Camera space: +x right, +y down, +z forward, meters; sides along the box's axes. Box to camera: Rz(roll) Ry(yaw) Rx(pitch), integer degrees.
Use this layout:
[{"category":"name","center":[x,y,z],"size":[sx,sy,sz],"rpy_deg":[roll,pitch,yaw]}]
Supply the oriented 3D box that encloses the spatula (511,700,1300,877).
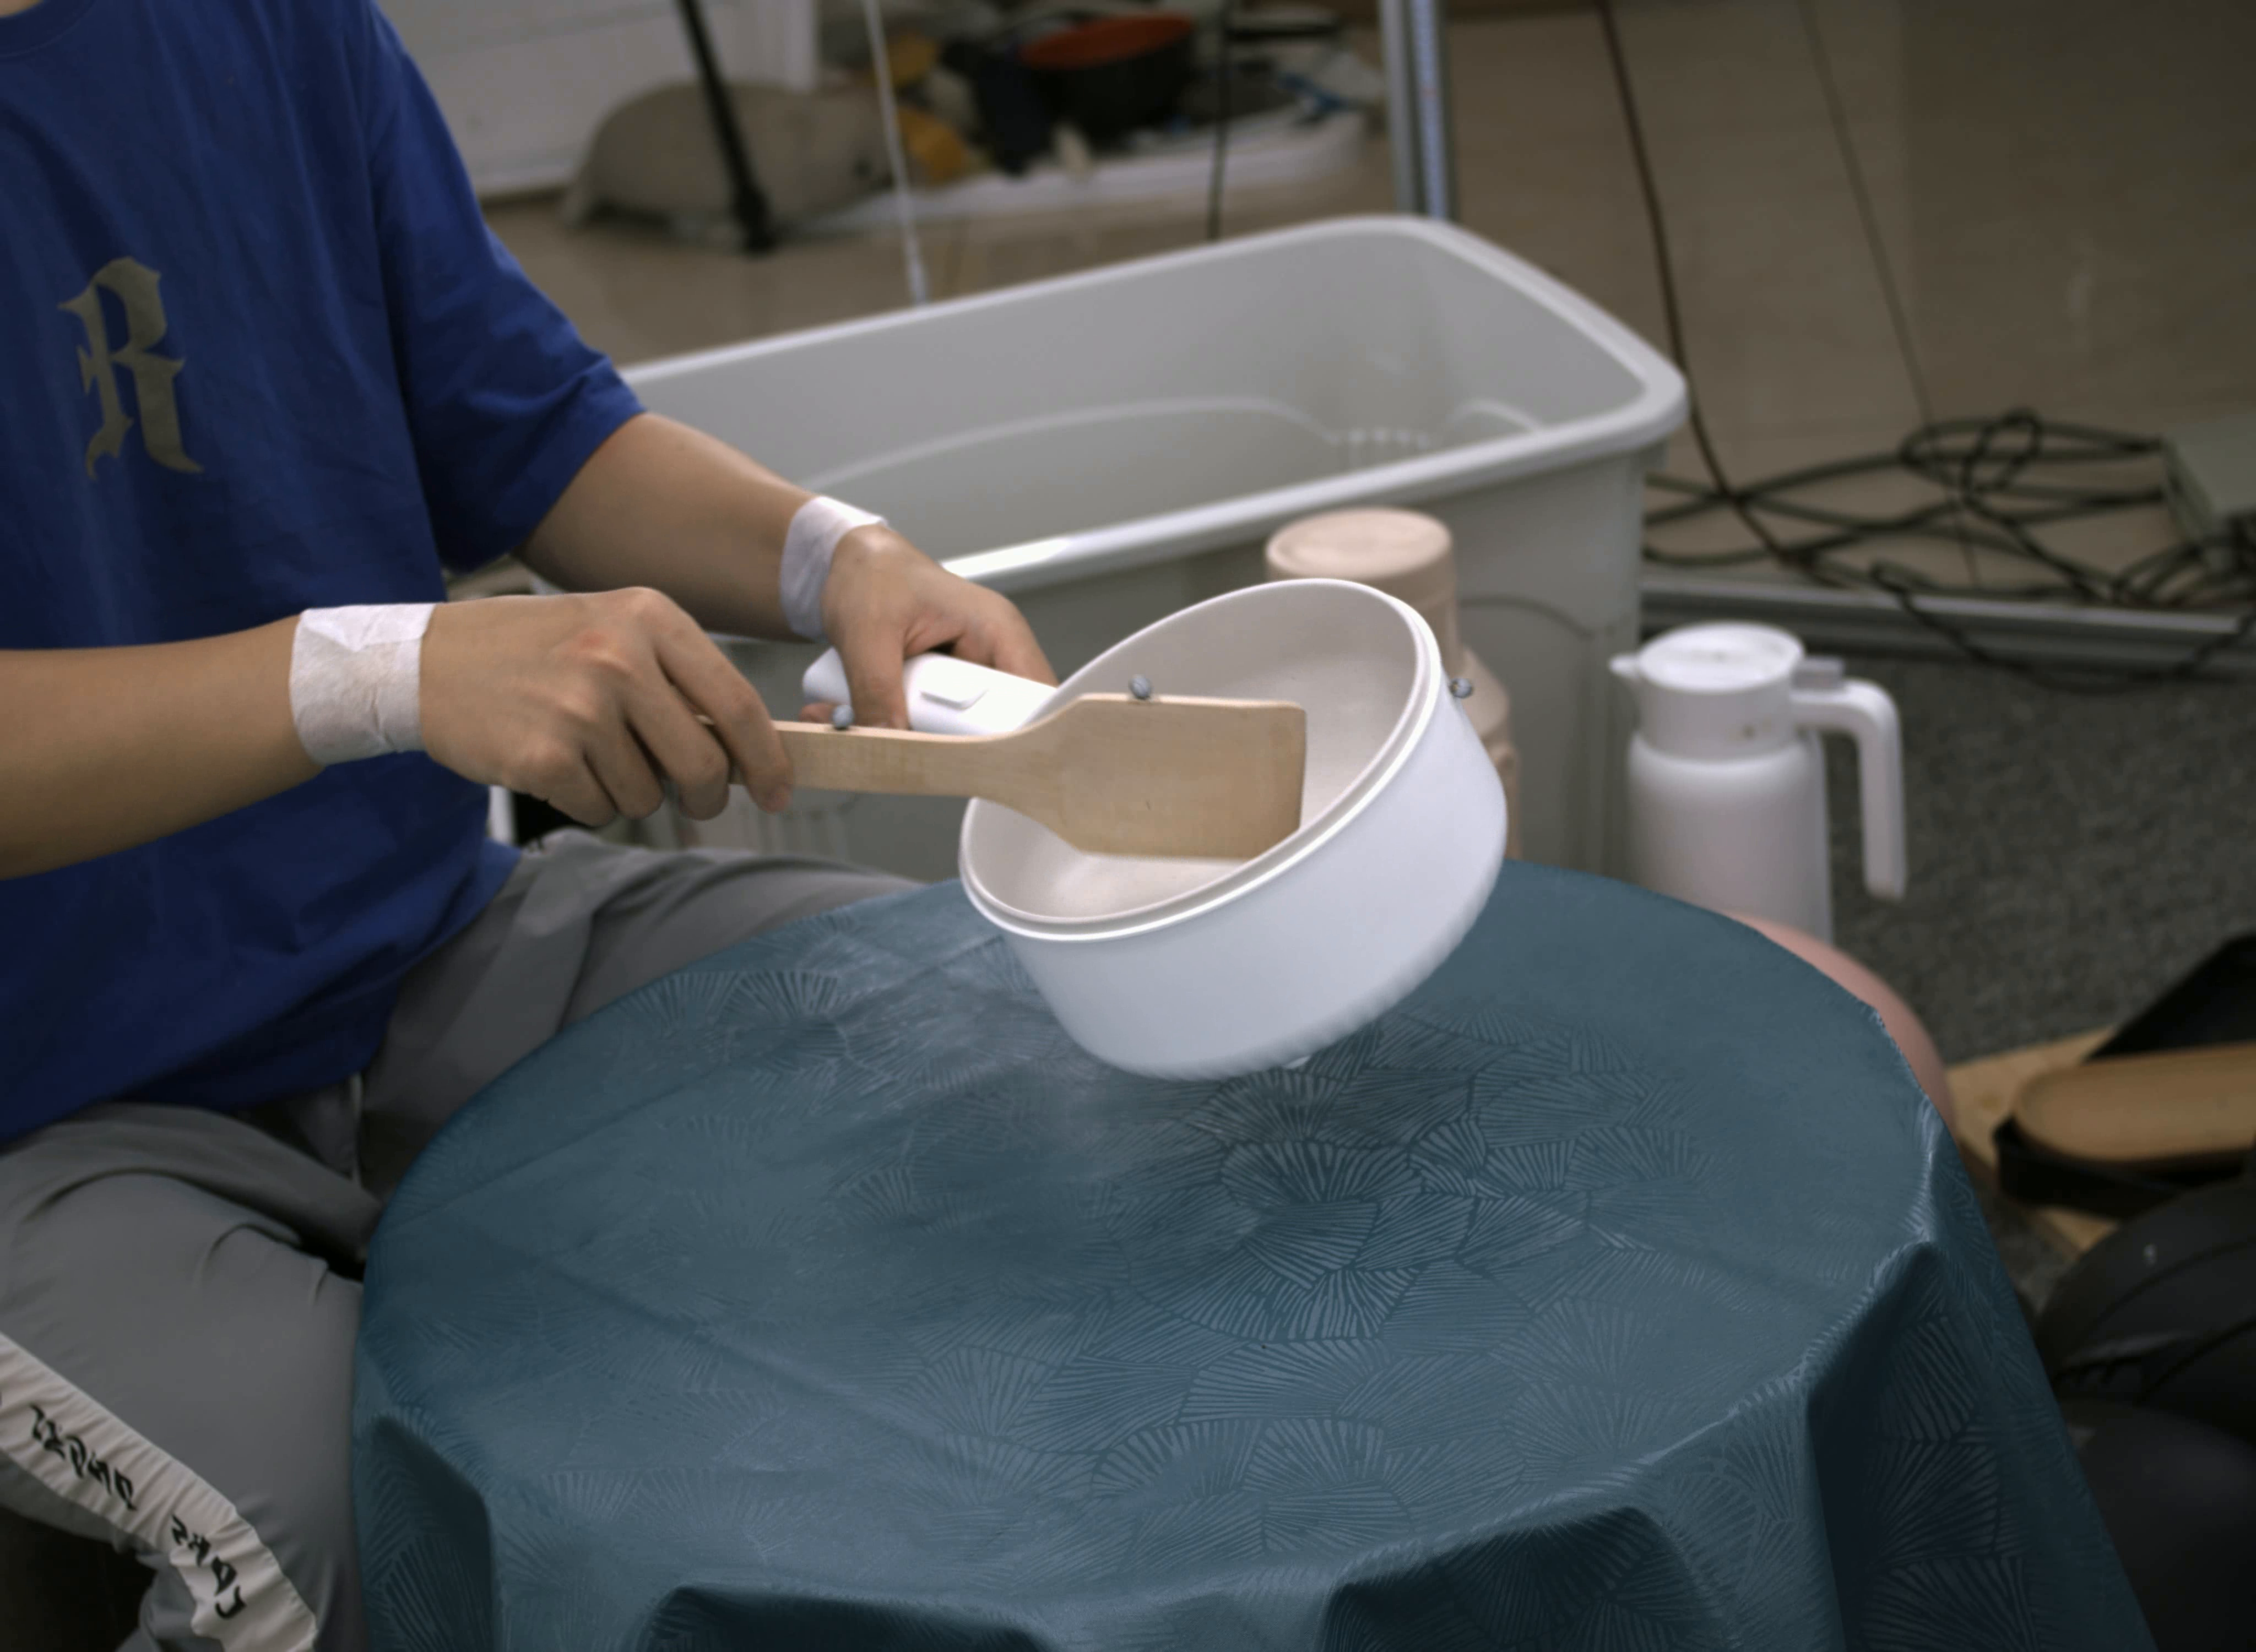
[{"category":"spatula","center":[-0.083,-0.023,2.098],"size":[0.292,0.073,0.010],"rpy_deg":[5,31,1]}]

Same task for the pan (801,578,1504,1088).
[{"category":"pan","center":[-0.001,-0.006,2.219],"size":[0.199,0.103,0.352],"rpy_deg":[-47,34,-19]}]
